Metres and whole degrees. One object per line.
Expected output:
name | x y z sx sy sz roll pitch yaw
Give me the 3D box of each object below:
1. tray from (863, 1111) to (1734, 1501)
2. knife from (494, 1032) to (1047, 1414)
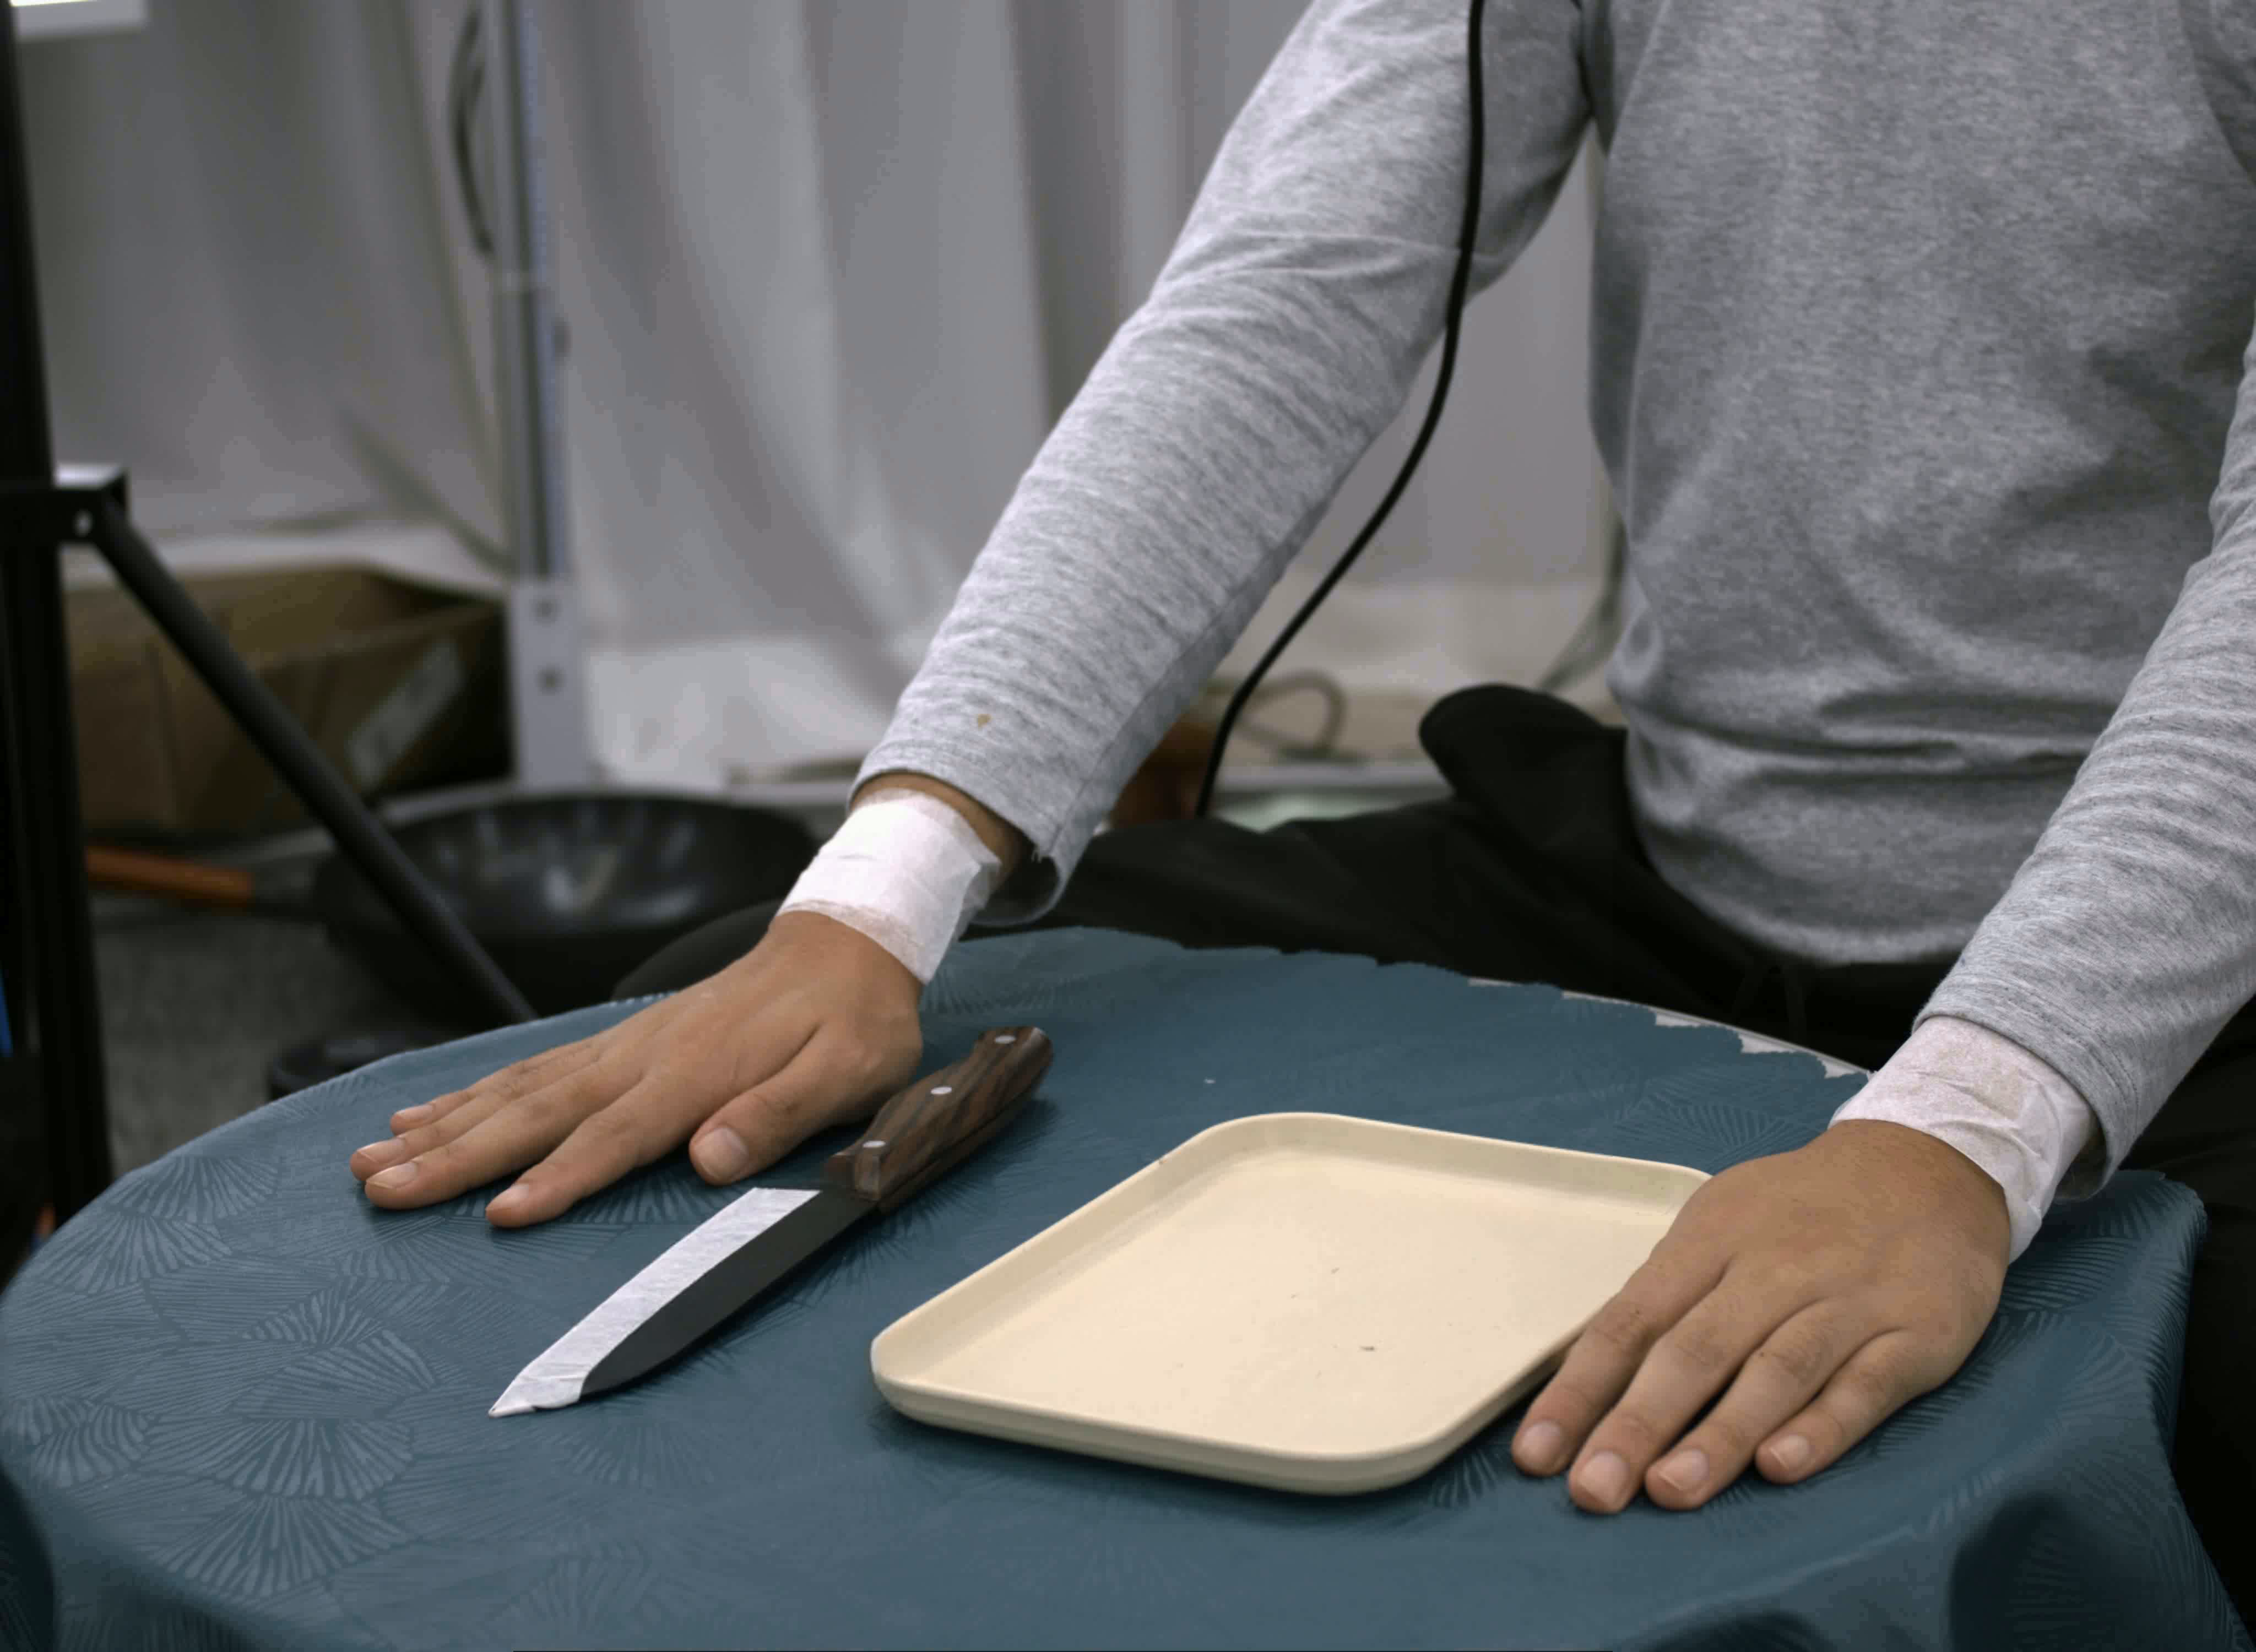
tray | 0.051 0.129 1.448 0.174 0.017 0.235 8 18 30
knife | -0.098 0.114 1.530 0.051 0.020 0.284 1 18 29
